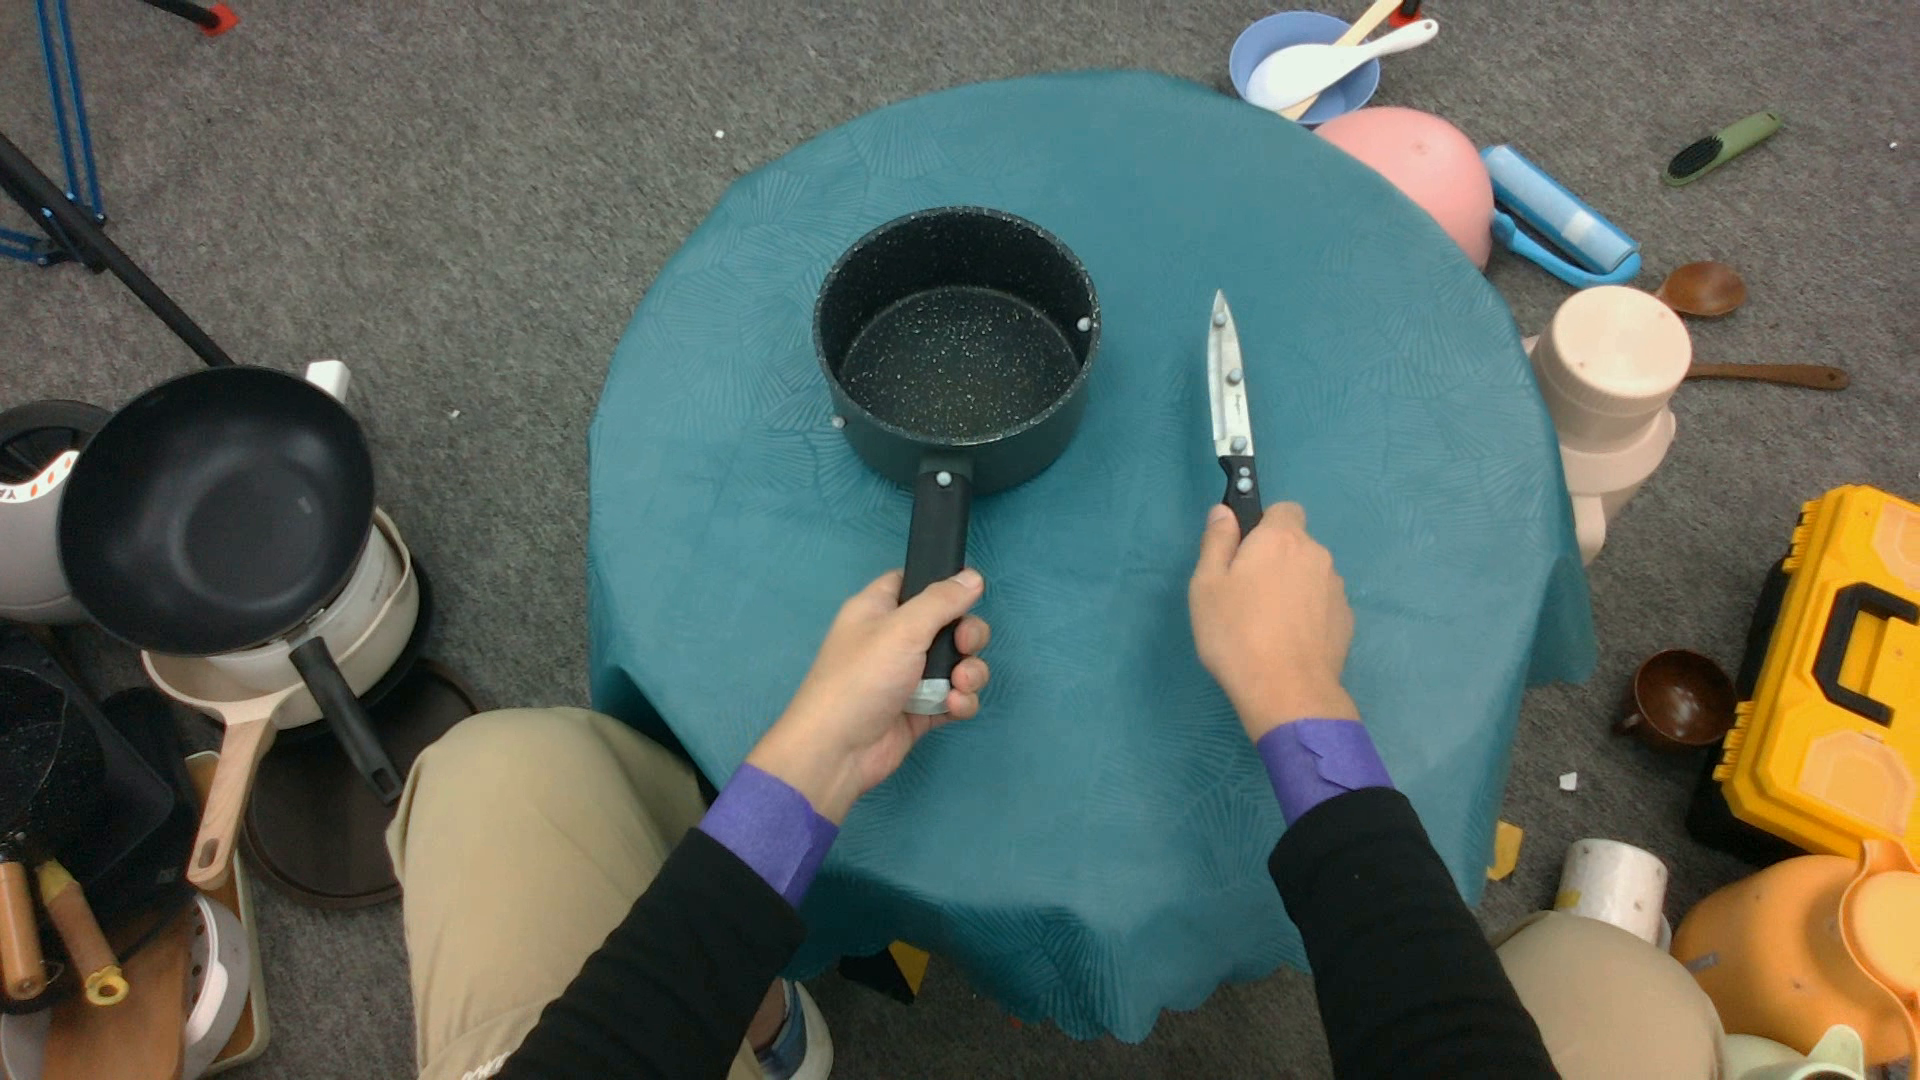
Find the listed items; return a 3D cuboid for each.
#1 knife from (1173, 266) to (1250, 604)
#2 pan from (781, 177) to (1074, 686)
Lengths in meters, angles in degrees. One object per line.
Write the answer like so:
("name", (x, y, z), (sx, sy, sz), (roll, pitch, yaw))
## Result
("knife", (0.146, -0.070, 0.809), (0.024, 0.016, 0.239), (-5, 60, 4))
("pan", (-0.027, -0.060, 0.803), (0.172, 0.086, 0.330), (6, 63, 4))
